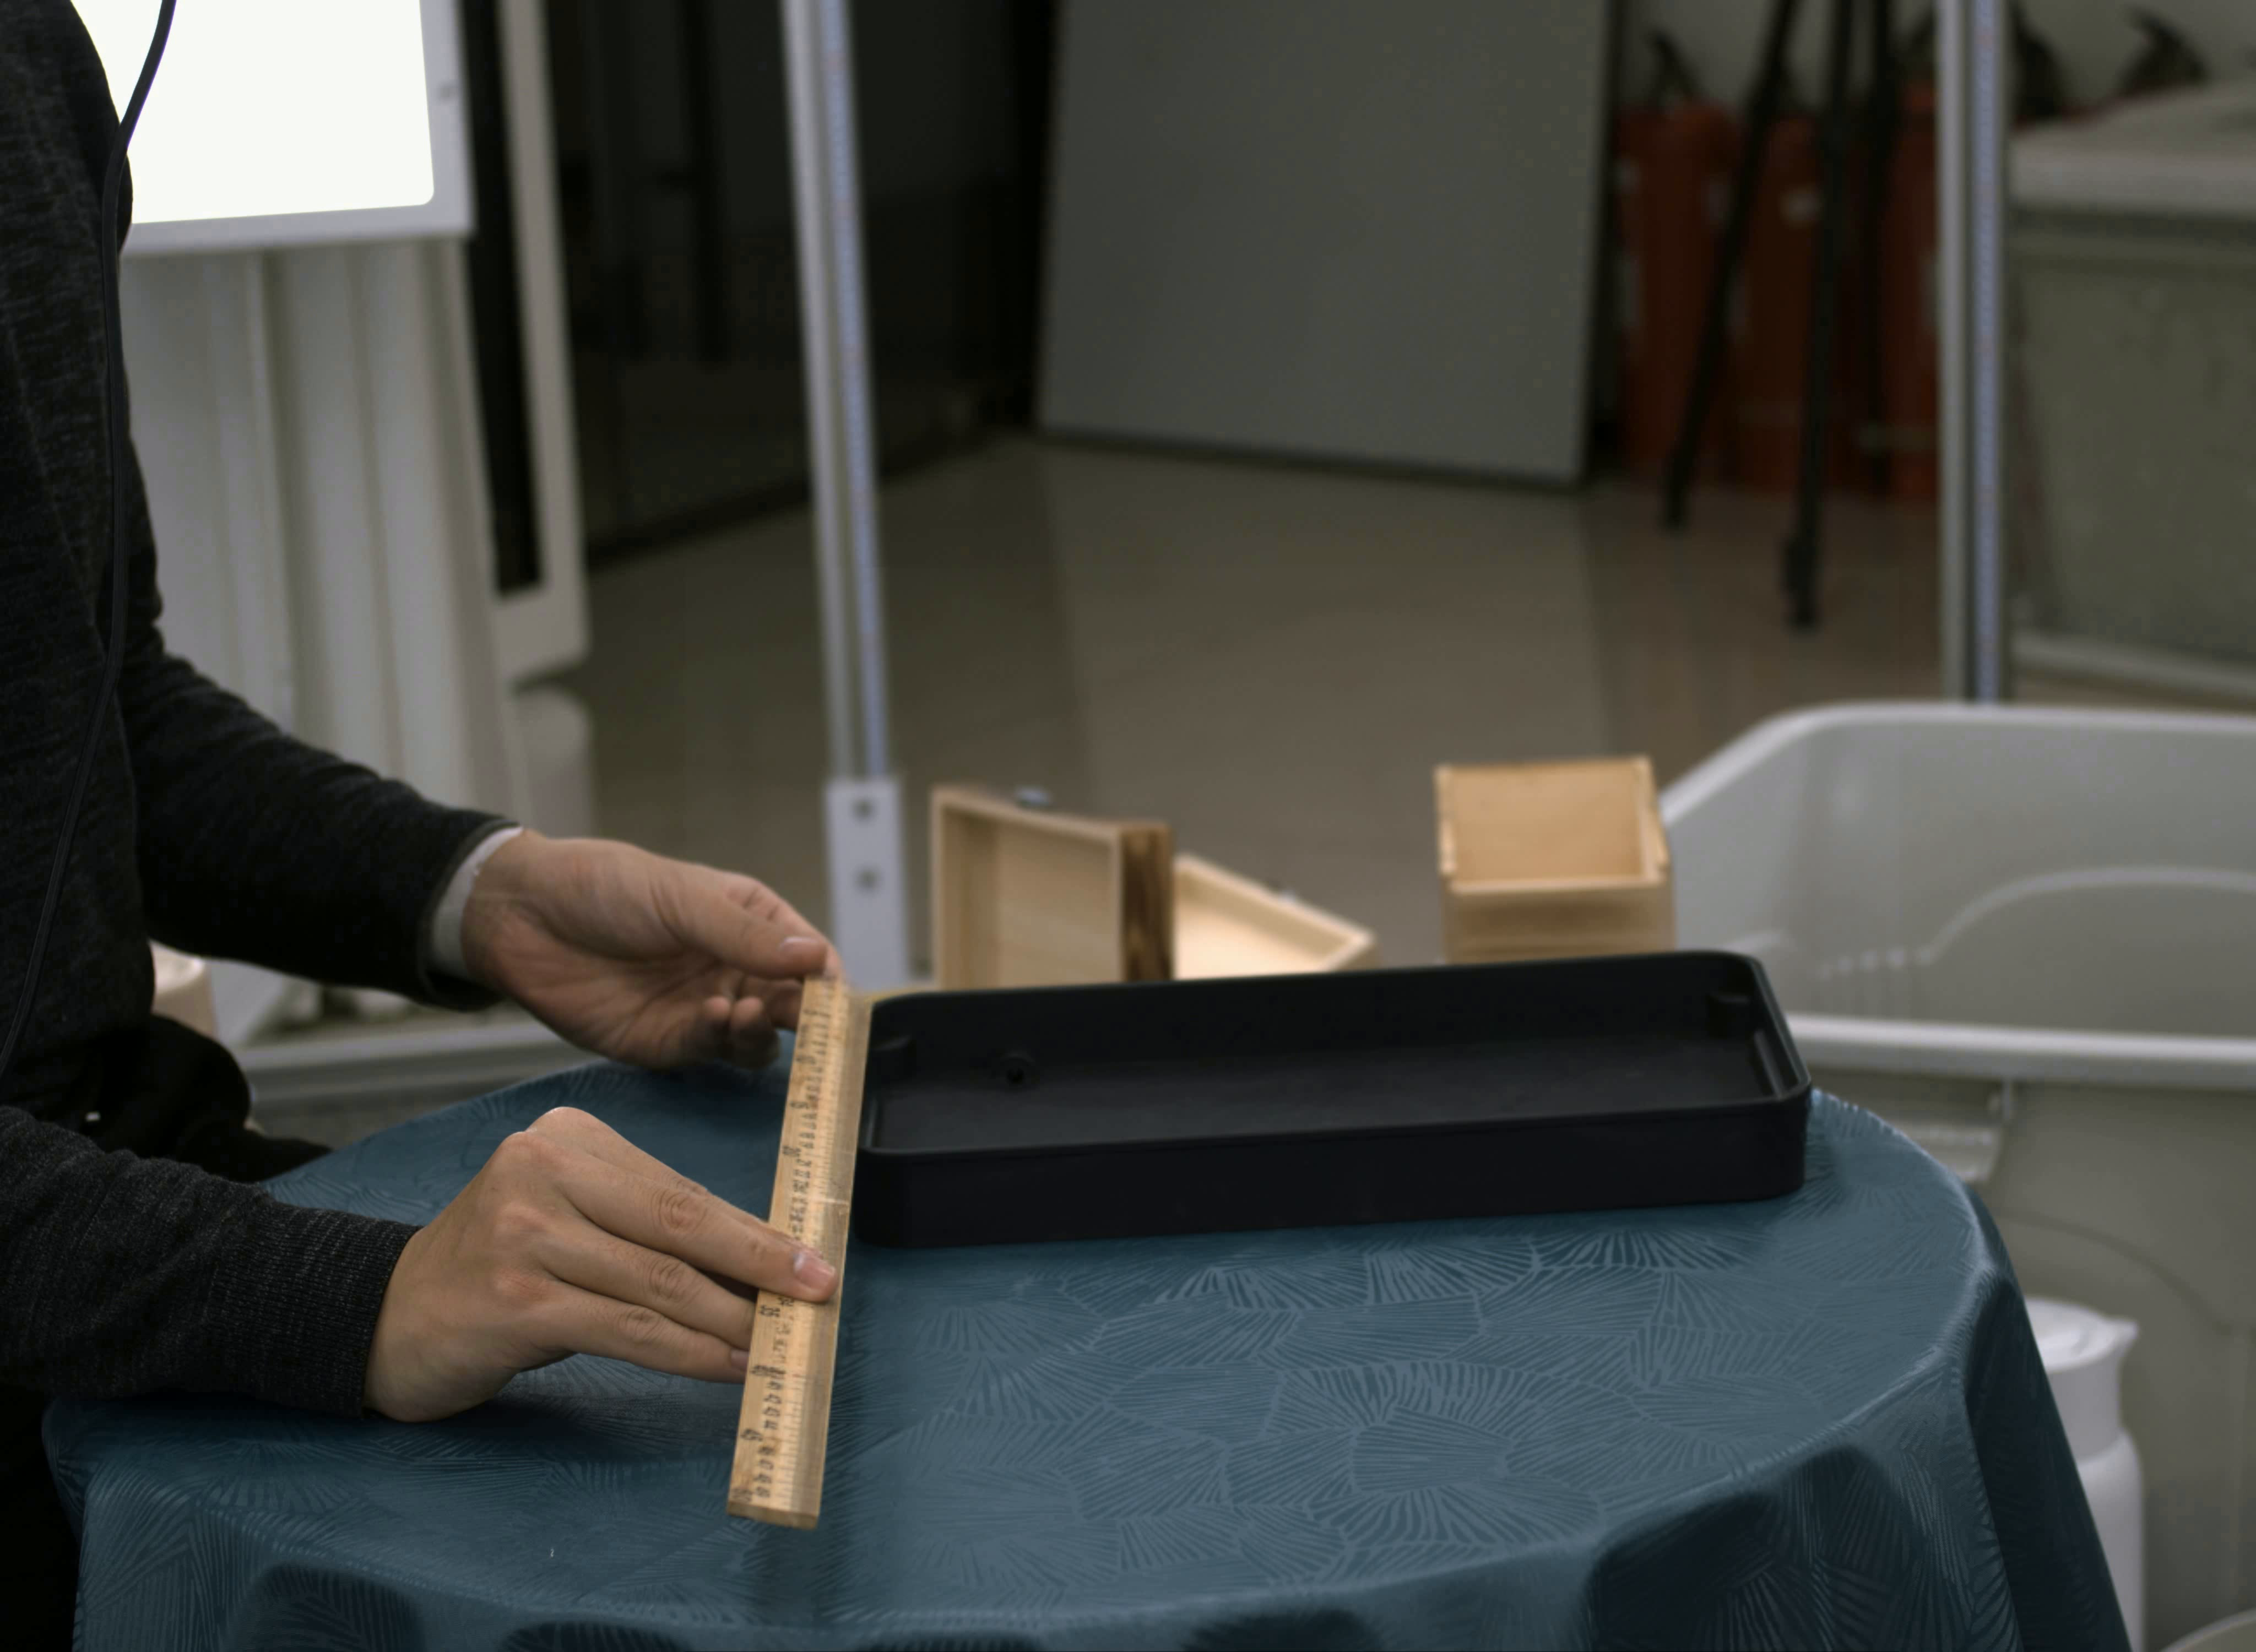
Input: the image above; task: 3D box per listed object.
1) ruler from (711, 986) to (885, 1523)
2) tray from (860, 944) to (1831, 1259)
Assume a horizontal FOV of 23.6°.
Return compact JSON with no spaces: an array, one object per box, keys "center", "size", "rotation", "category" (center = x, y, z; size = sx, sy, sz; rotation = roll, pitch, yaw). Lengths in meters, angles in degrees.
[{"center":[-0.097,0.118,1.647],"size":[0.026,0.006,0.501],"rotation":[7,14,-2],"category":"ruler"},{"center":[0.070,0.090,1.802],"size":[0.314,0.037,0.184],"rotation":[-5,13,1],"category":"tray"}]
